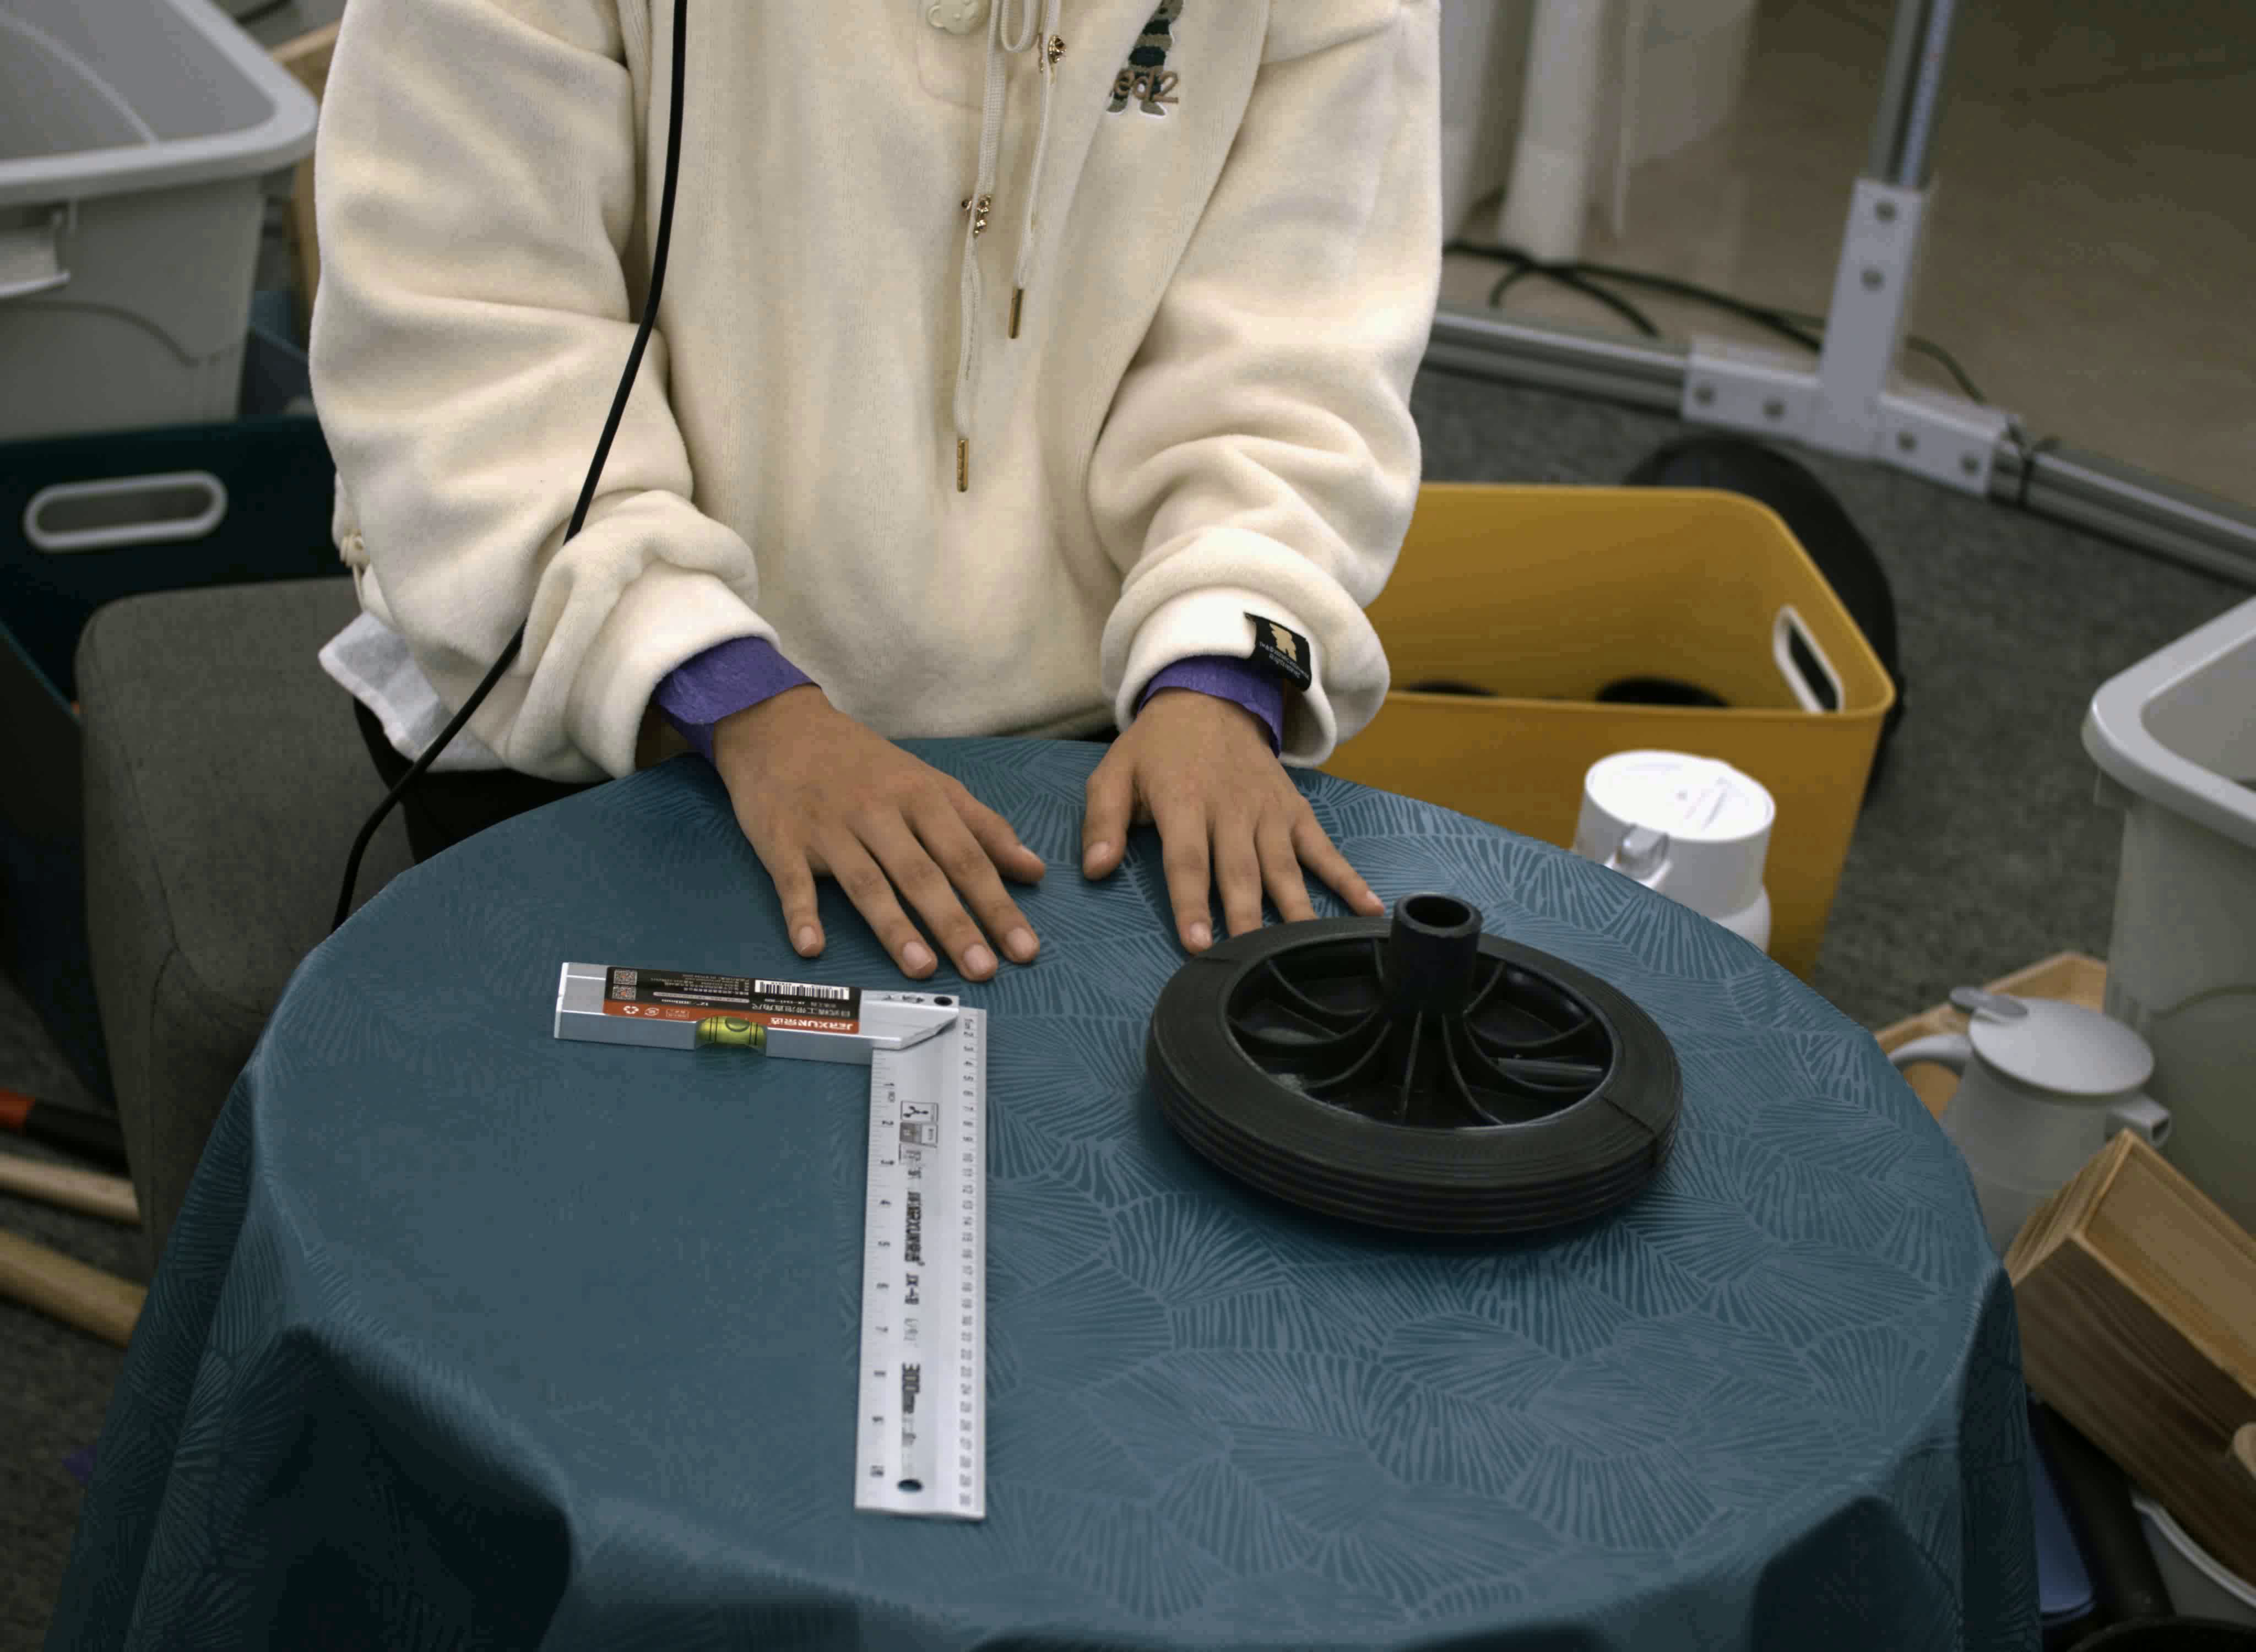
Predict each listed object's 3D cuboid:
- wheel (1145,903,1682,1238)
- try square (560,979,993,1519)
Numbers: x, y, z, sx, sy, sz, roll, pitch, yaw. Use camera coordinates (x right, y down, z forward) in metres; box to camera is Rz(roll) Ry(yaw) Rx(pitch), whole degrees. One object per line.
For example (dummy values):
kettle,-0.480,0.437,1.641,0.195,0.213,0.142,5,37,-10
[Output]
wheel,0.102,0.068,1.849,0.188,0.079,0.189,-5,29,-23
try square,-0.121,0.134,1.753,0.152,0.016,0.315,2,28,-2
